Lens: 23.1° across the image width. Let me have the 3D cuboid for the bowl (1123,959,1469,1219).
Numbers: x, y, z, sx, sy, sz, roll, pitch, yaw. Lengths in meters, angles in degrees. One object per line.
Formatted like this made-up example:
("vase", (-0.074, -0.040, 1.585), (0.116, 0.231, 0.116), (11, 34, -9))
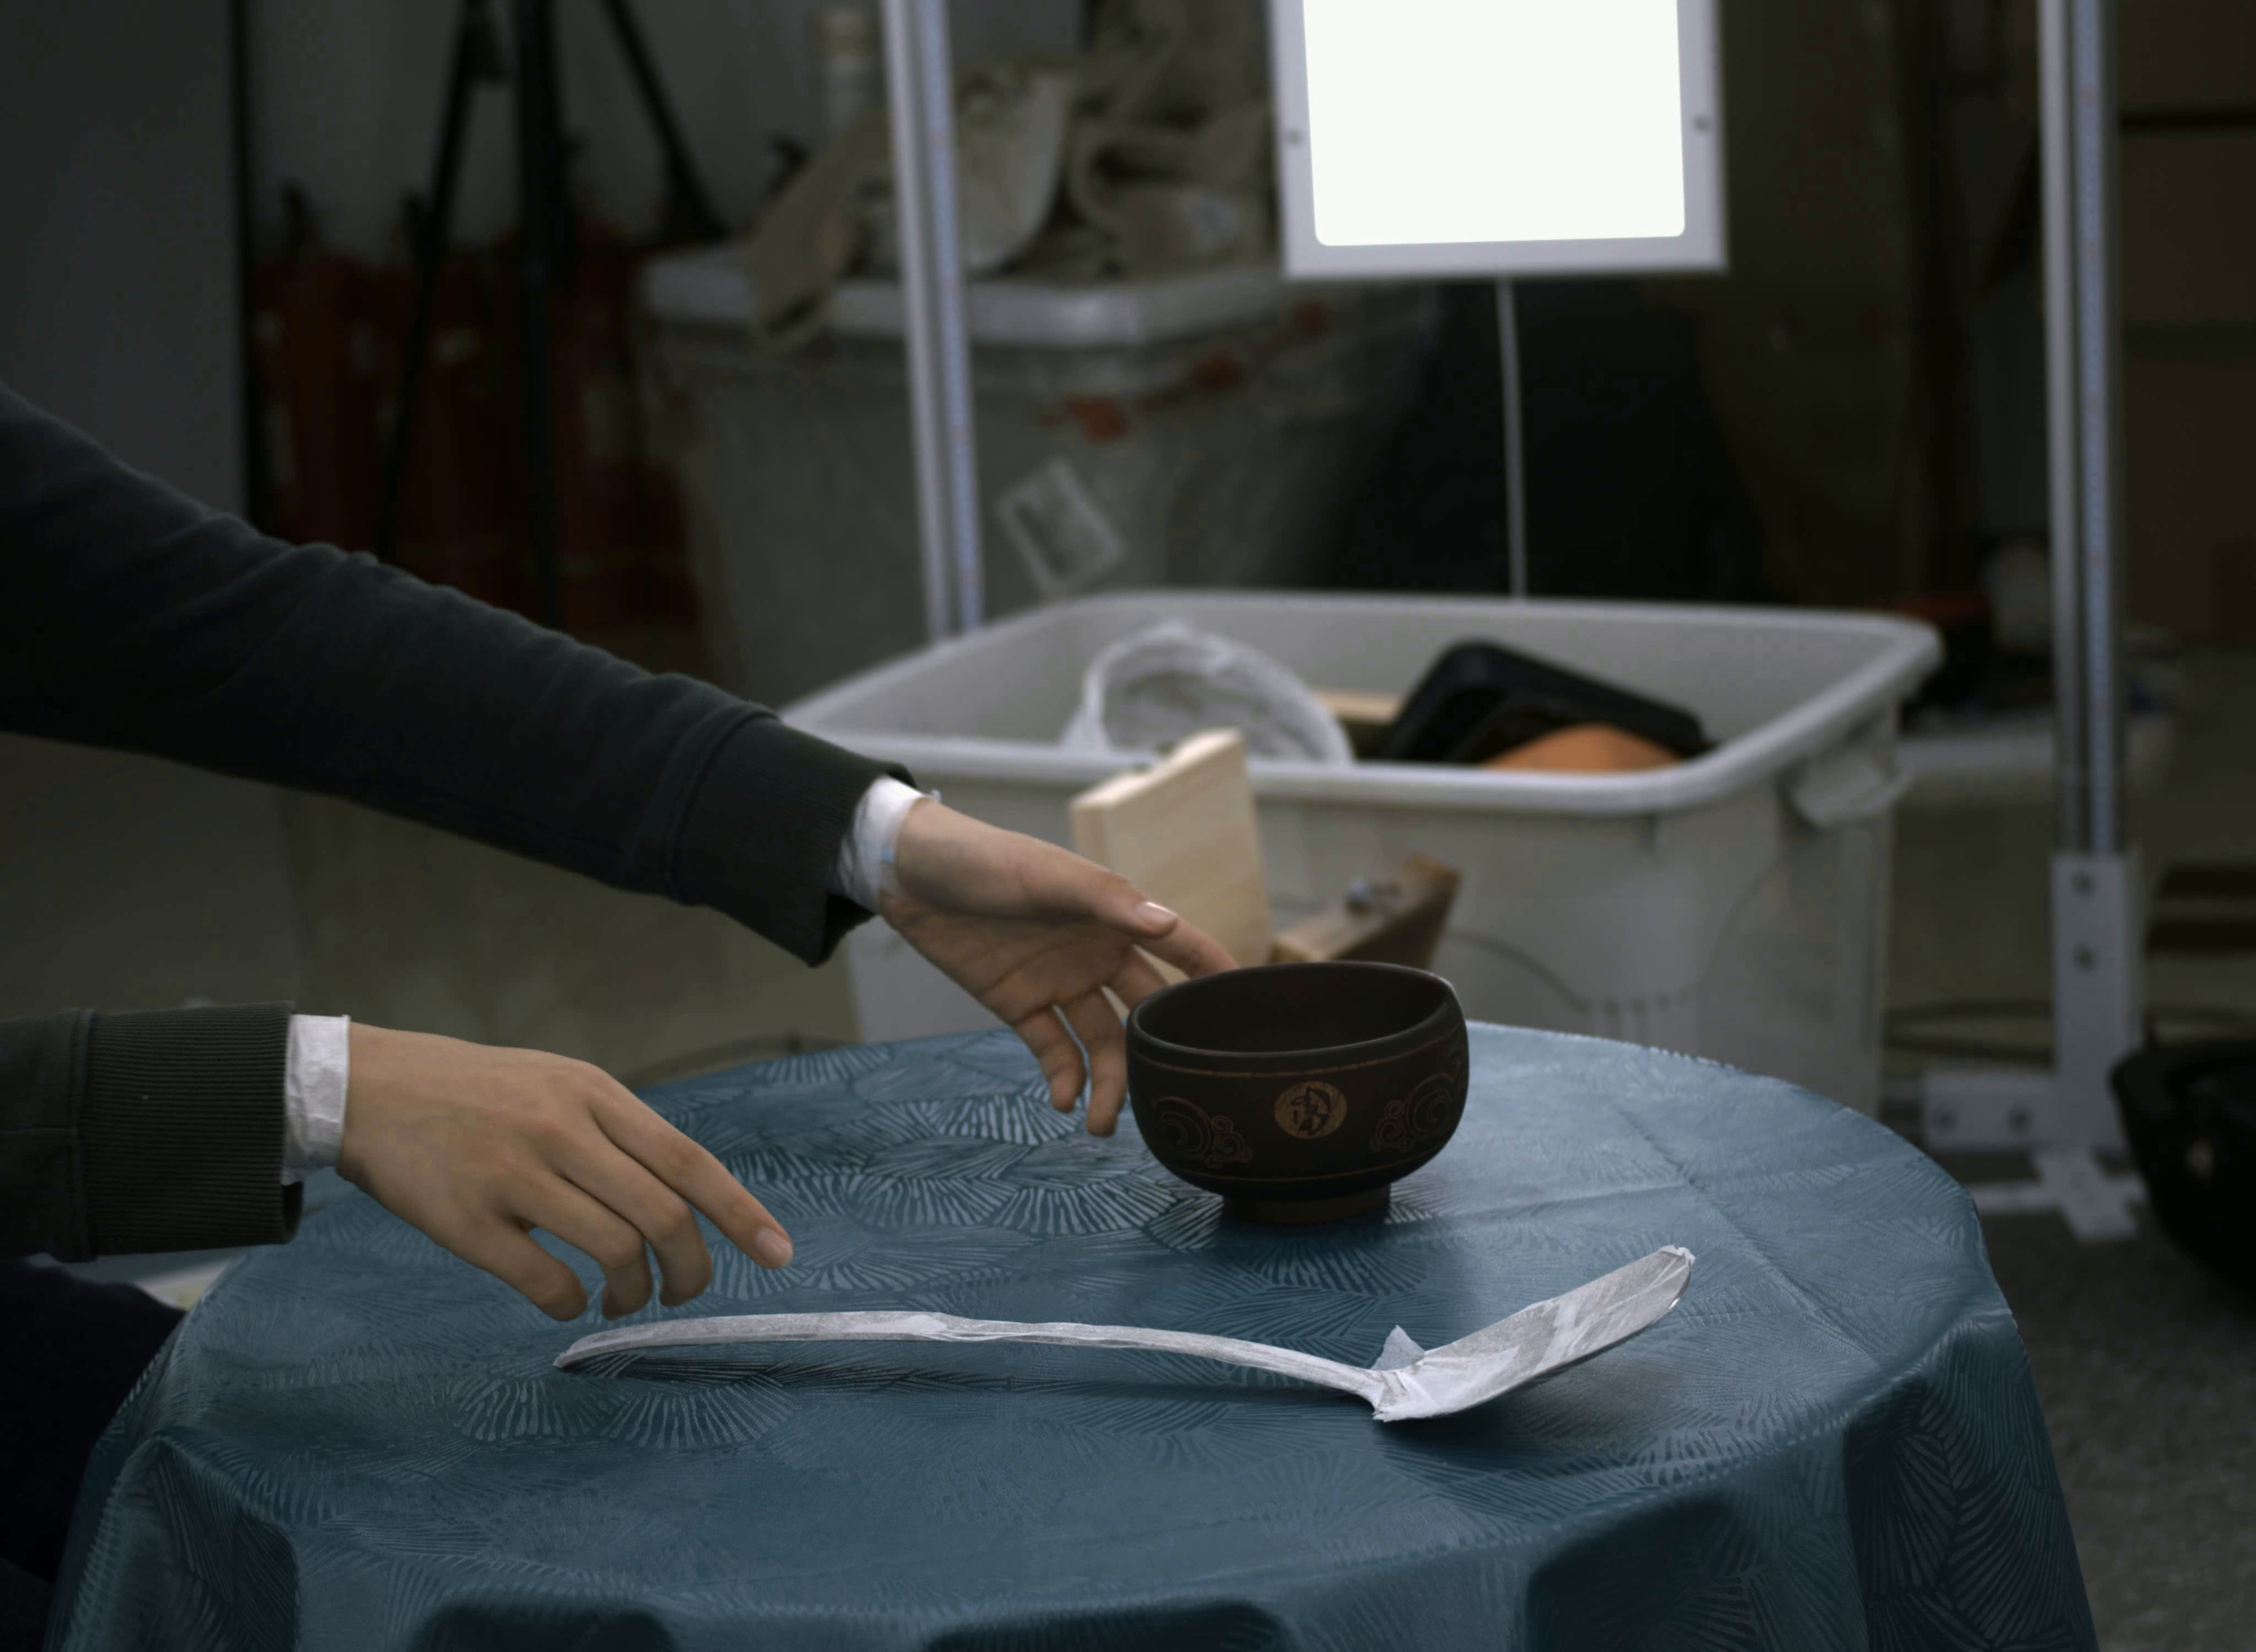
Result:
("bowl", (0.058, 0.092, 1.865), (0.118, 0.070, 0.118), (-5, 12, 0))

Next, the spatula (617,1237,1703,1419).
("spatula", (-0.001, 0.154, 1.706), (0.370, 0.045, 0.097), (1, 17, 22))
